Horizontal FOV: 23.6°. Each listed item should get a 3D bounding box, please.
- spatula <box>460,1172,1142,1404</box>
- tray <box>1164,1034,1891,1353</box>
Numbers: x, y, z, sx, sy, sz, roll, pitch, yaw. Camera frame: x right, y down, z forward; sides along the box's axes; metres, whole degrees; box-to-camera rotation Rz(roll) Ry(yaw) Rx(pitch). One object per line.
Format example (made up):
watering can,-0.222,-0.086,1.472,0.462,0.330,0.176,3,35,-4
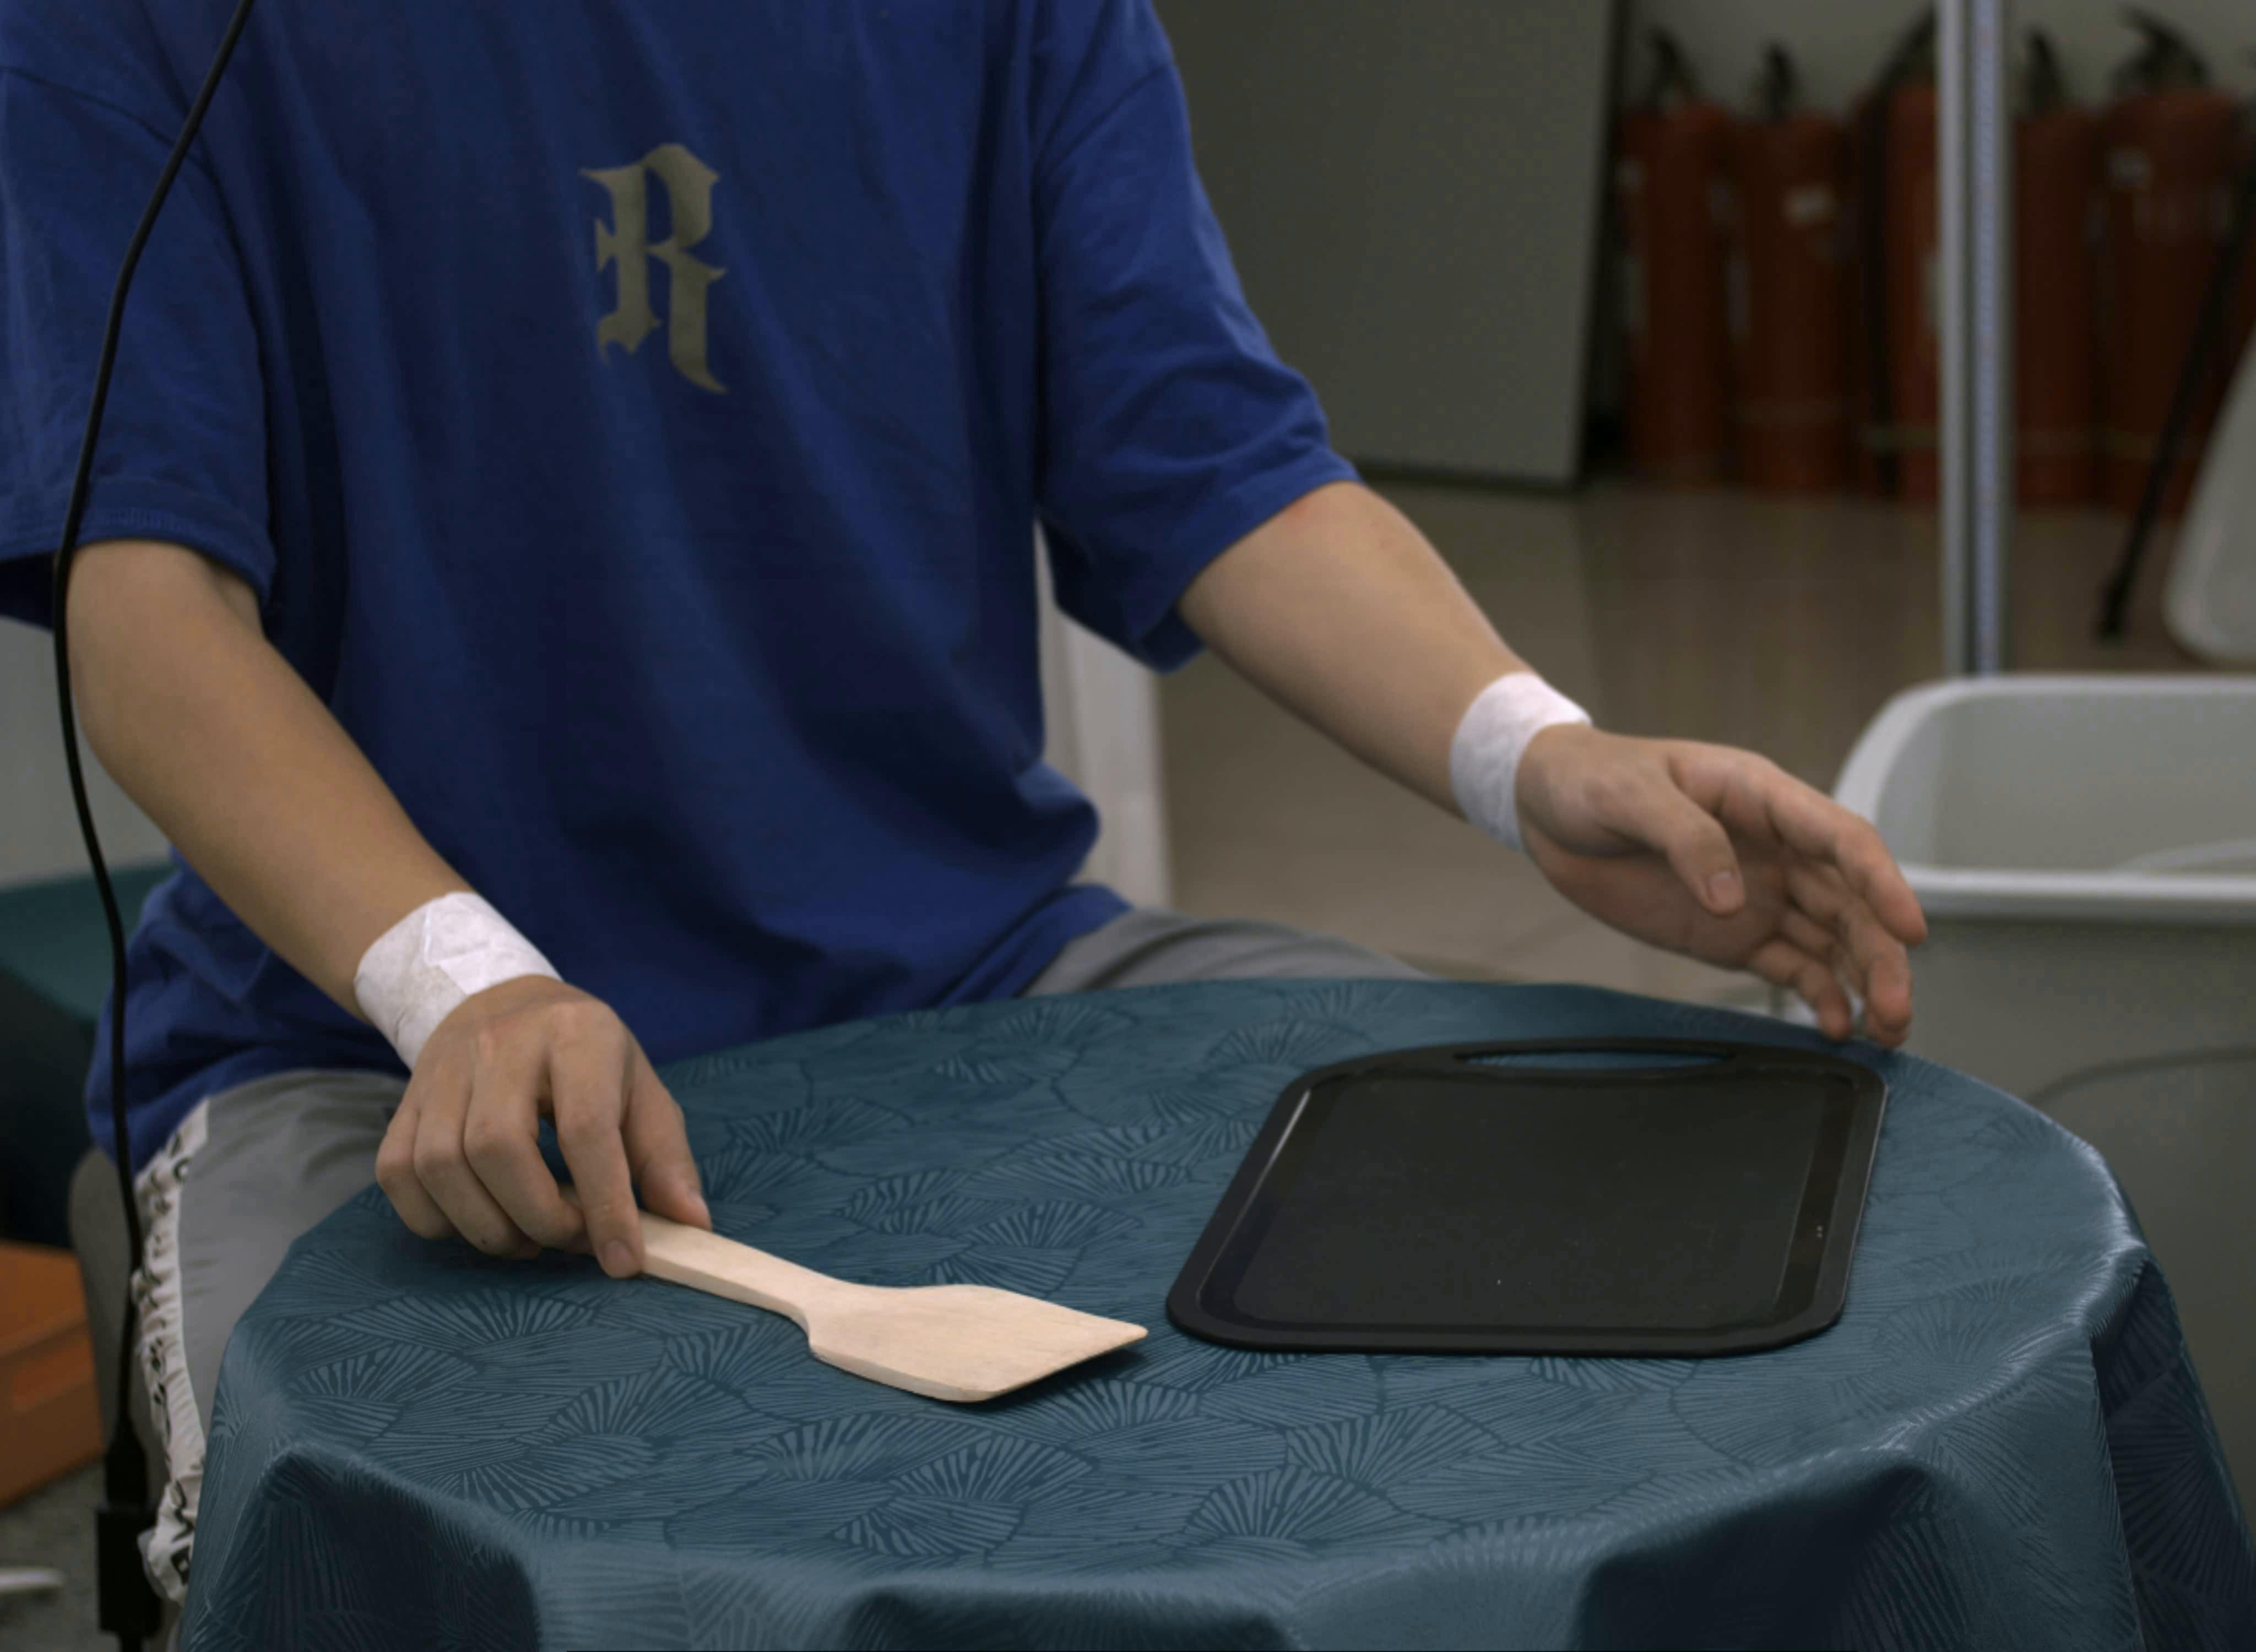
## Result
spatula,-0.117,0.142,1.699,0.071,0.011,0.296,-17,19,-40
tray,0.136,0.113,1.745,0.210,0.010,0.323,-1,14,13
